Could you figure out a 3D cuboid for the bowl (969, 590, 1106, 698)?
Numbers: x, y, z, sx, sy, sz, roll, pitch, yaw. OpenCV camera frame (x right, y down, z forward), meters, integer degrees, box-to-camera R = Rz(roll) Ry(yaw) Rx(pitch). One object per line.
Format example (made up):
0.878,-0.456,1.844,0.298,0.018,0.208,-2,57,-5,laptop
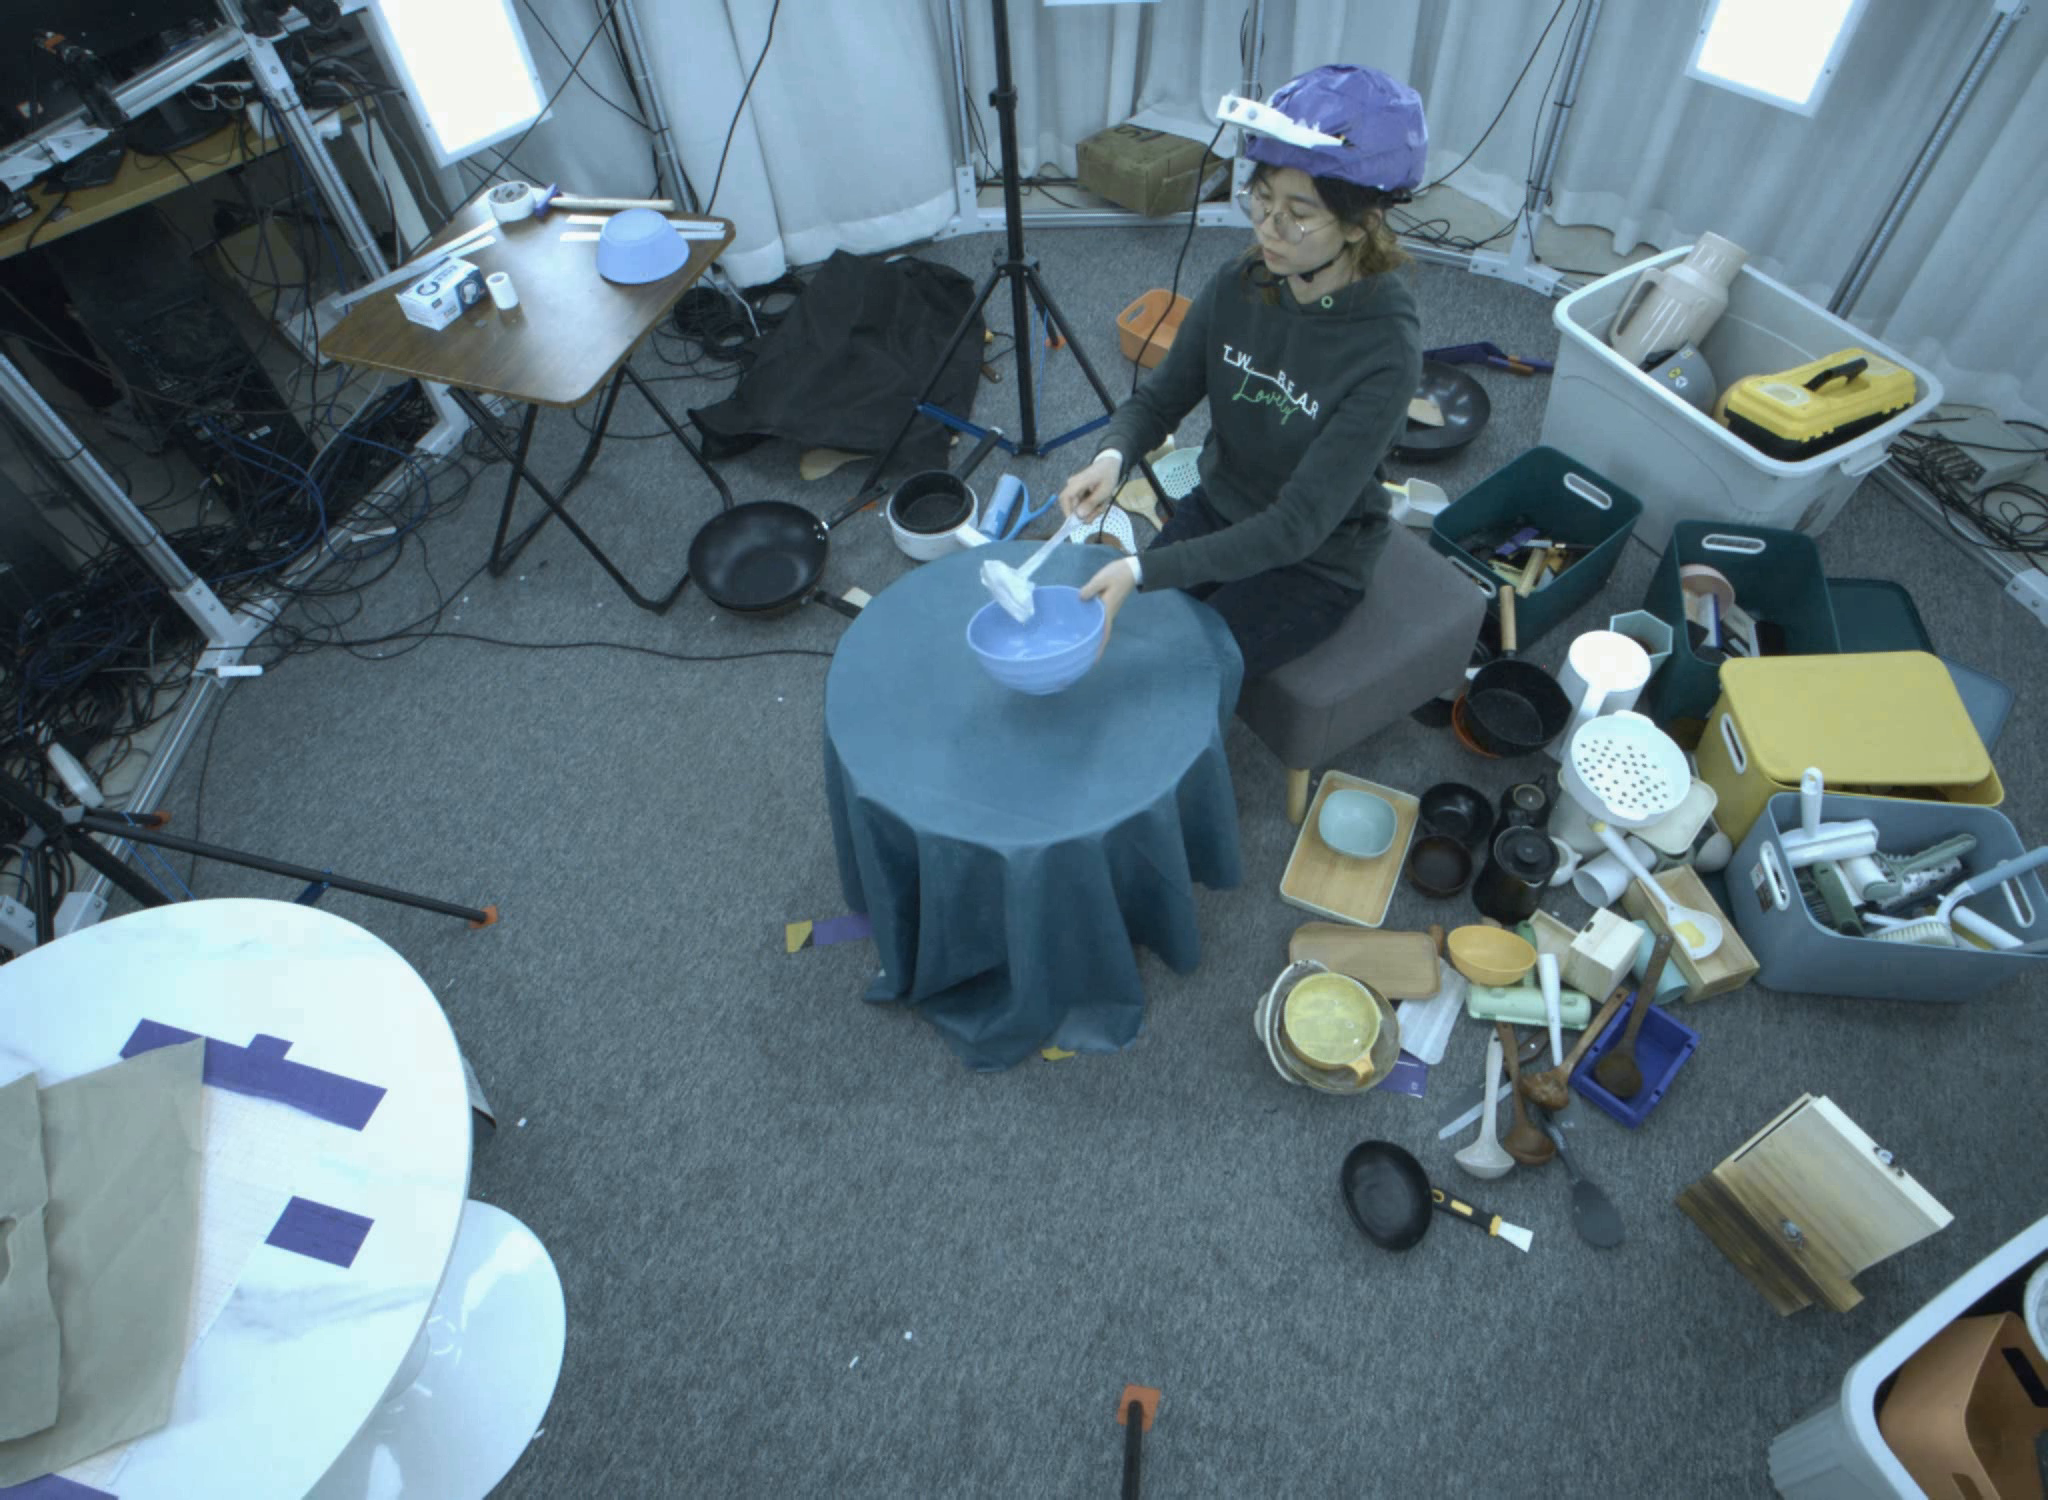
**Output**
0.026,-0.139,1.753,0.196,0.097,0.194,-7,37,7,bowl

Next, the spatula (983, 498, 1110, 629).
0.048,-0.287,1.752,0.099,0.044,0.366,48,49,-10,spatula
